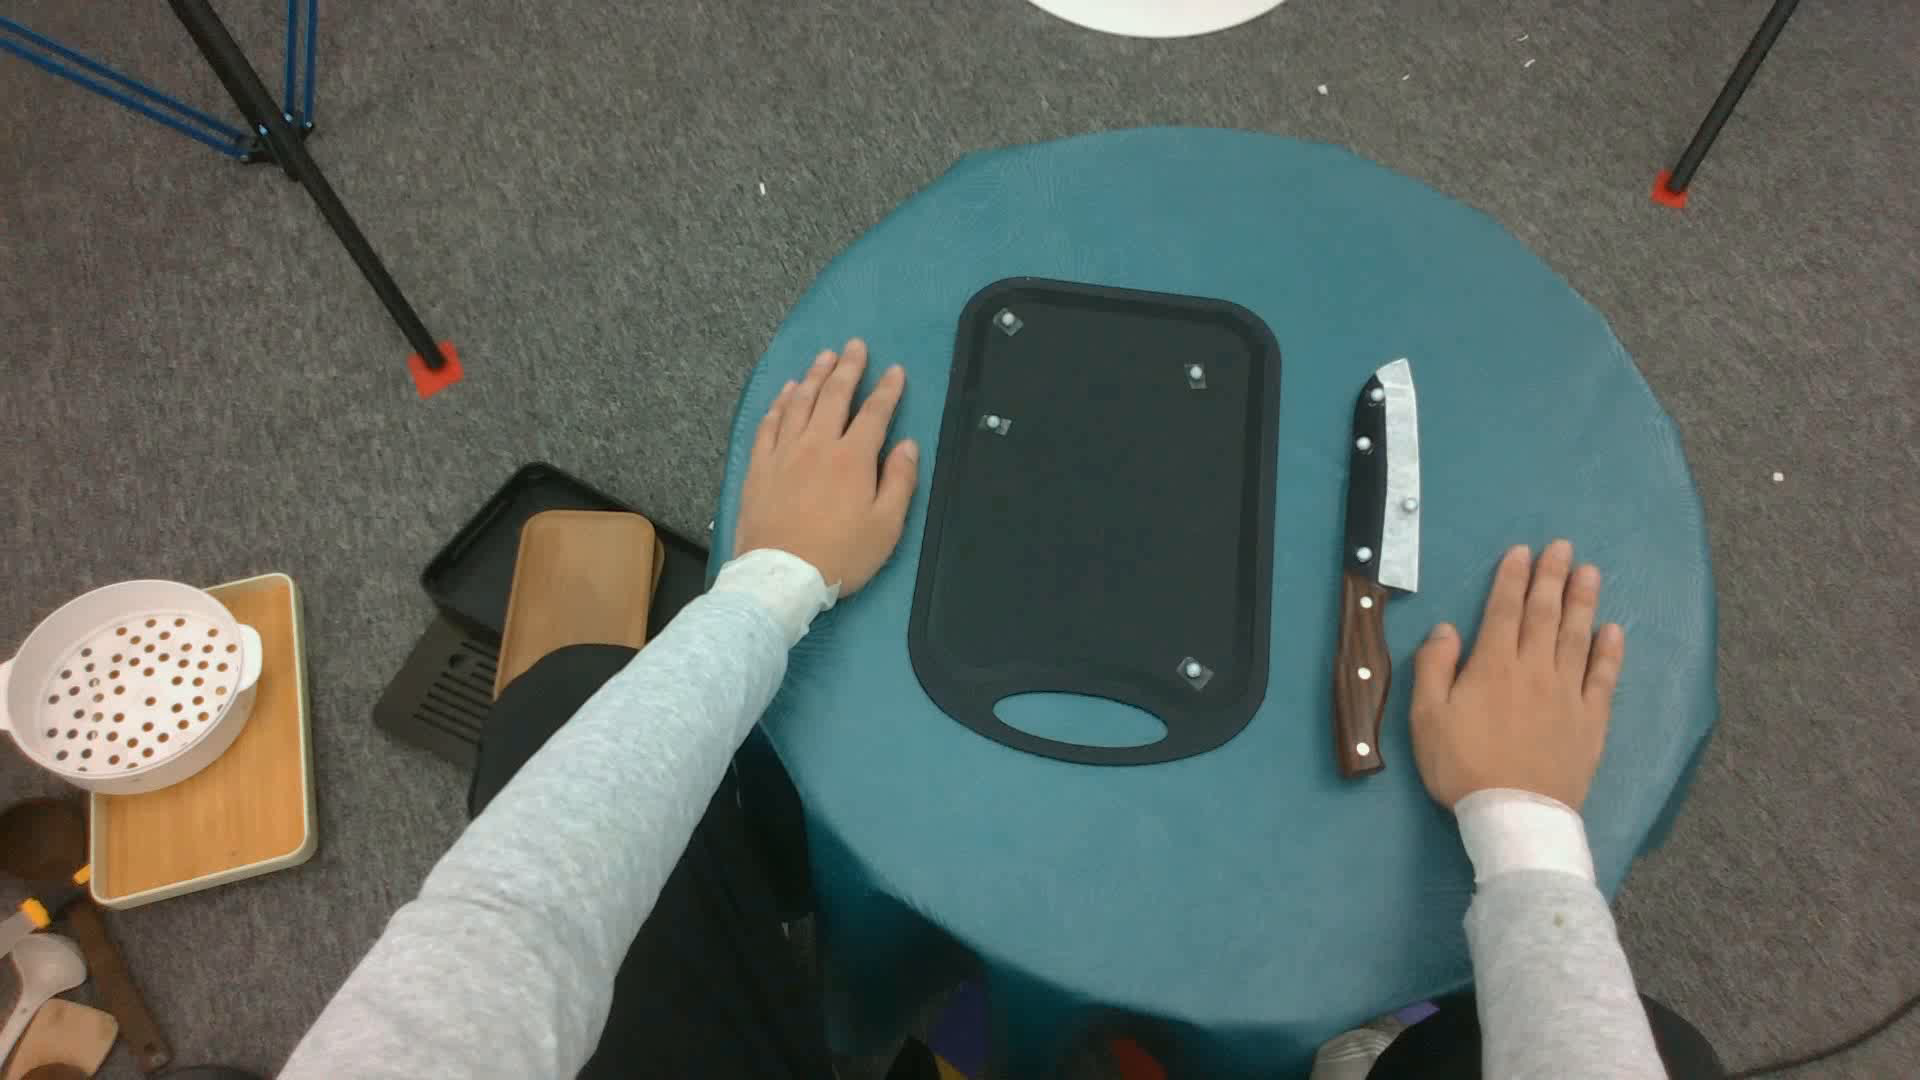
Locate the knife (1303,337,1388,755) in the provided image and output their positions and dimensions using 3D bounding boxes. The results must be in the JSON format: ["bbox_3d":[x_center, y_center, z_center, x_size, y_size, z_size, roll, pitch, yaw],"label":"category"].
[{"bbox_3d":[0.232,-0.007,0.822,0.050,0.020,0.290,14,63,-1],"label":"knife"}]

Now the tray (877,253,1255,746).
[{"bbox_3d":[0.070,-0.034,0.833,0.211,0.010,0.326,8,65,2],"label":"tray"}]
